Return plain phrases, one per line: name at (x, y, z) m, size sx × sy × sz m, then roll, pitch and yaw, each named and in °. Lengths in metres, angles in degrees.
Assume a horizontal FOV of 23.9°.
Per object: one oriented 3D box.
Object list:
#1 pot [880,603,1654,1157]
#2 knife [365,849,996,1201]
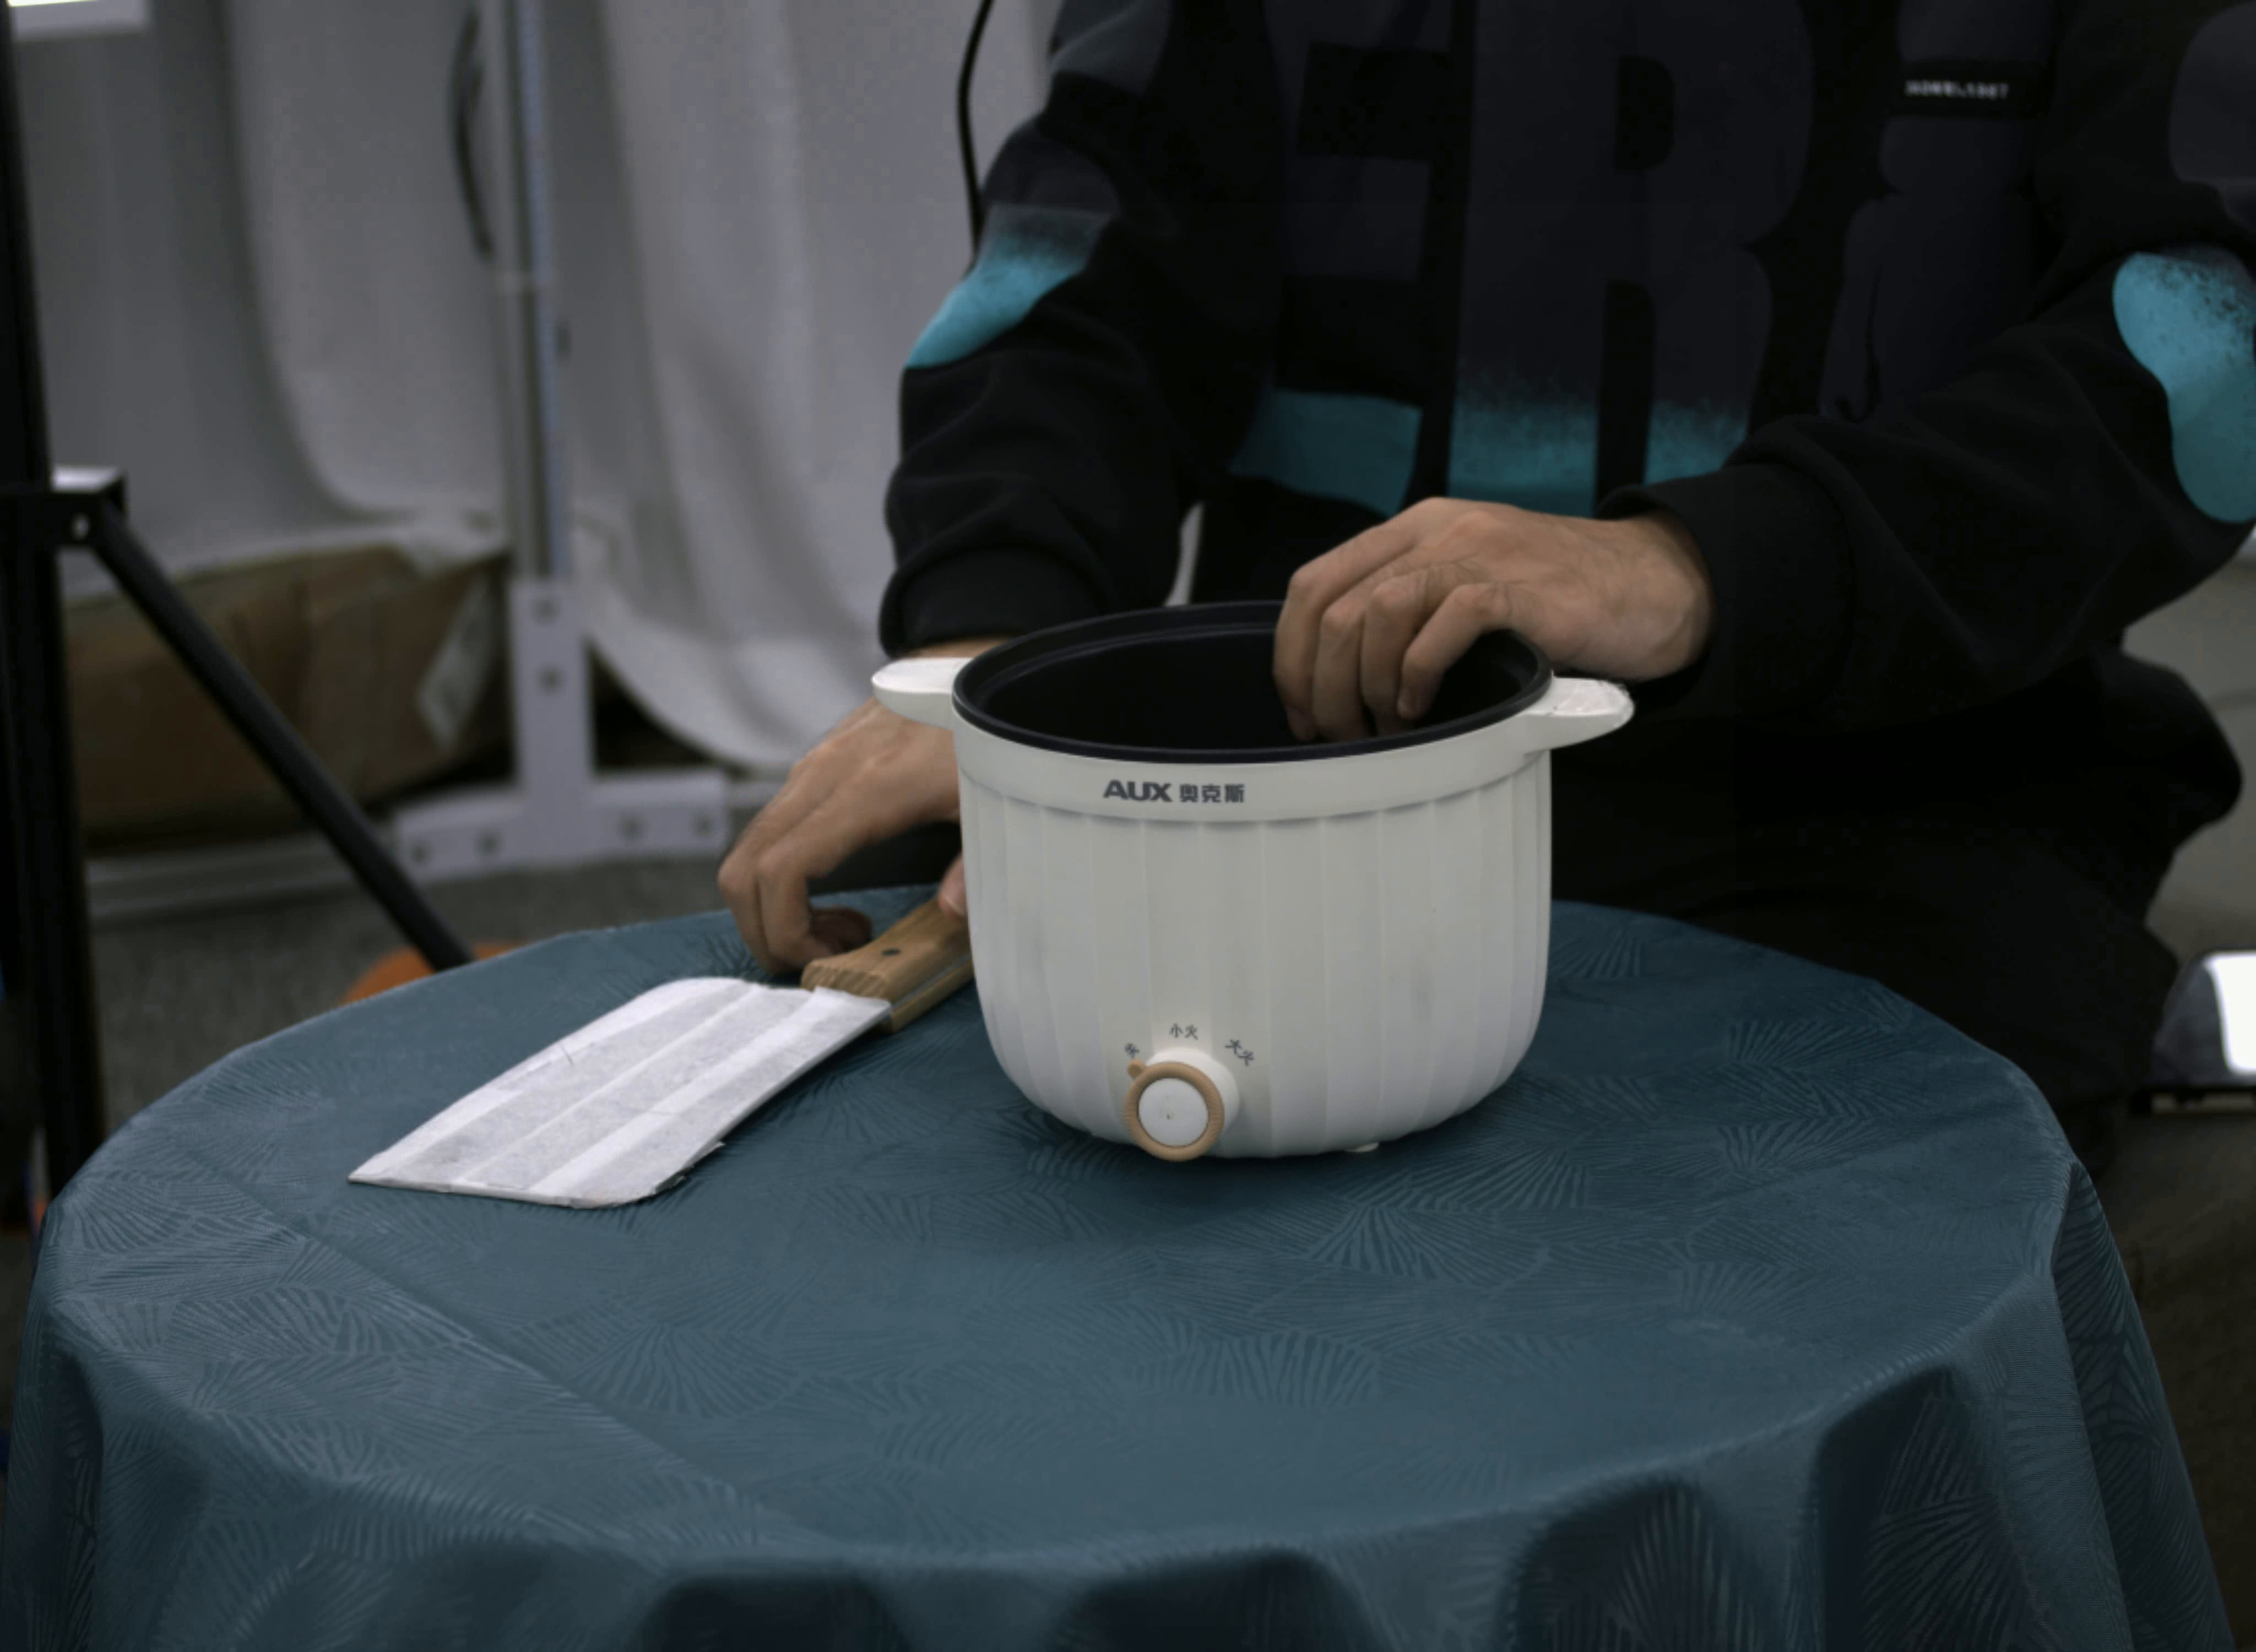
pot at (0.041, 0.019, 1.610) m, size 0.243 × 0.143 × 0.188 m, roll 1°, pitch 13°, yaw 18°
knife at (-0.116, 0.064, 1.701) m, size 0.116 × 0.022 × 0.310 m, roll 7°, pitch 21°, yaw 31°
